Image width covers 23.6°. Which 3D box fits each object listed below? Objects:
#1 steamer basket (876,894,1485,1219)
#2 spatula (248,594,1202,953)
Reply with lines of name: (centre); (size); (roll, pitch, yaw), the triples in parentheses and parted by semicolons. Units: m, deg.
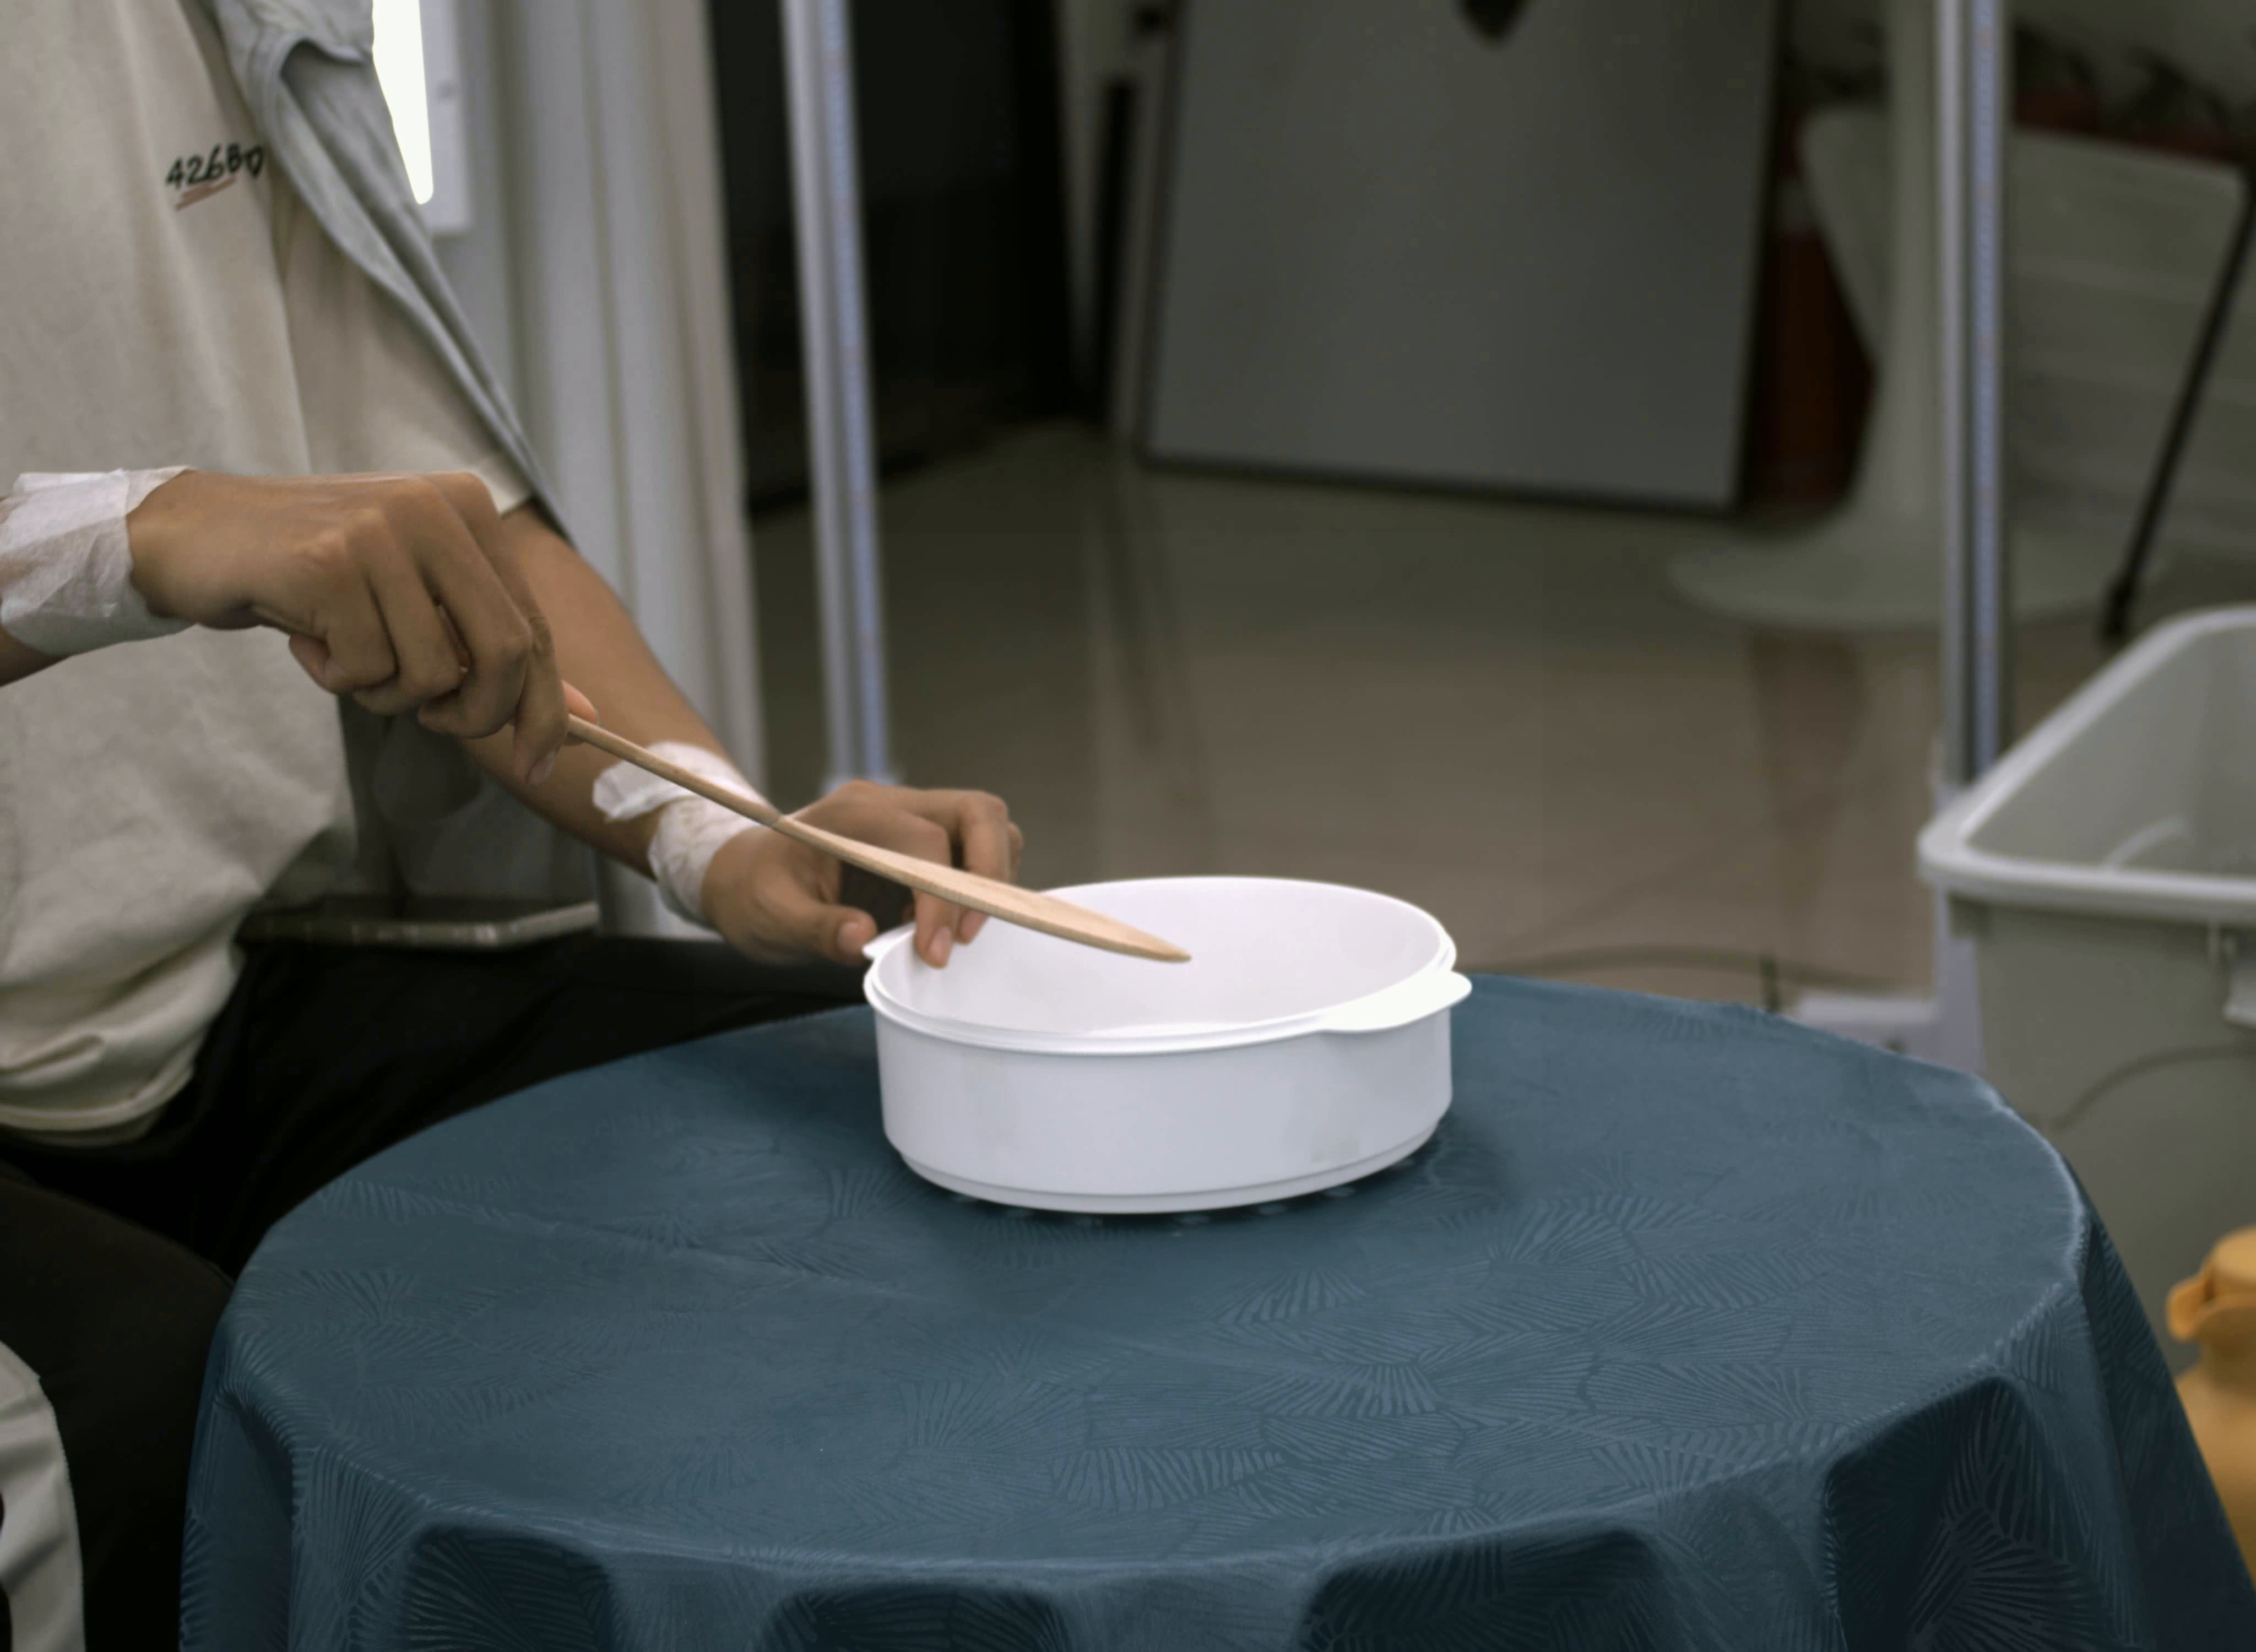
steamer basket: (0.017, 0.077, 1.812); (0.232, 0.070, 0.198); (6, 16, 39)
spatula: (-0.126, -0.016, 1.695); (0.321, 0.016, 0.081); (22, 1, -24)
